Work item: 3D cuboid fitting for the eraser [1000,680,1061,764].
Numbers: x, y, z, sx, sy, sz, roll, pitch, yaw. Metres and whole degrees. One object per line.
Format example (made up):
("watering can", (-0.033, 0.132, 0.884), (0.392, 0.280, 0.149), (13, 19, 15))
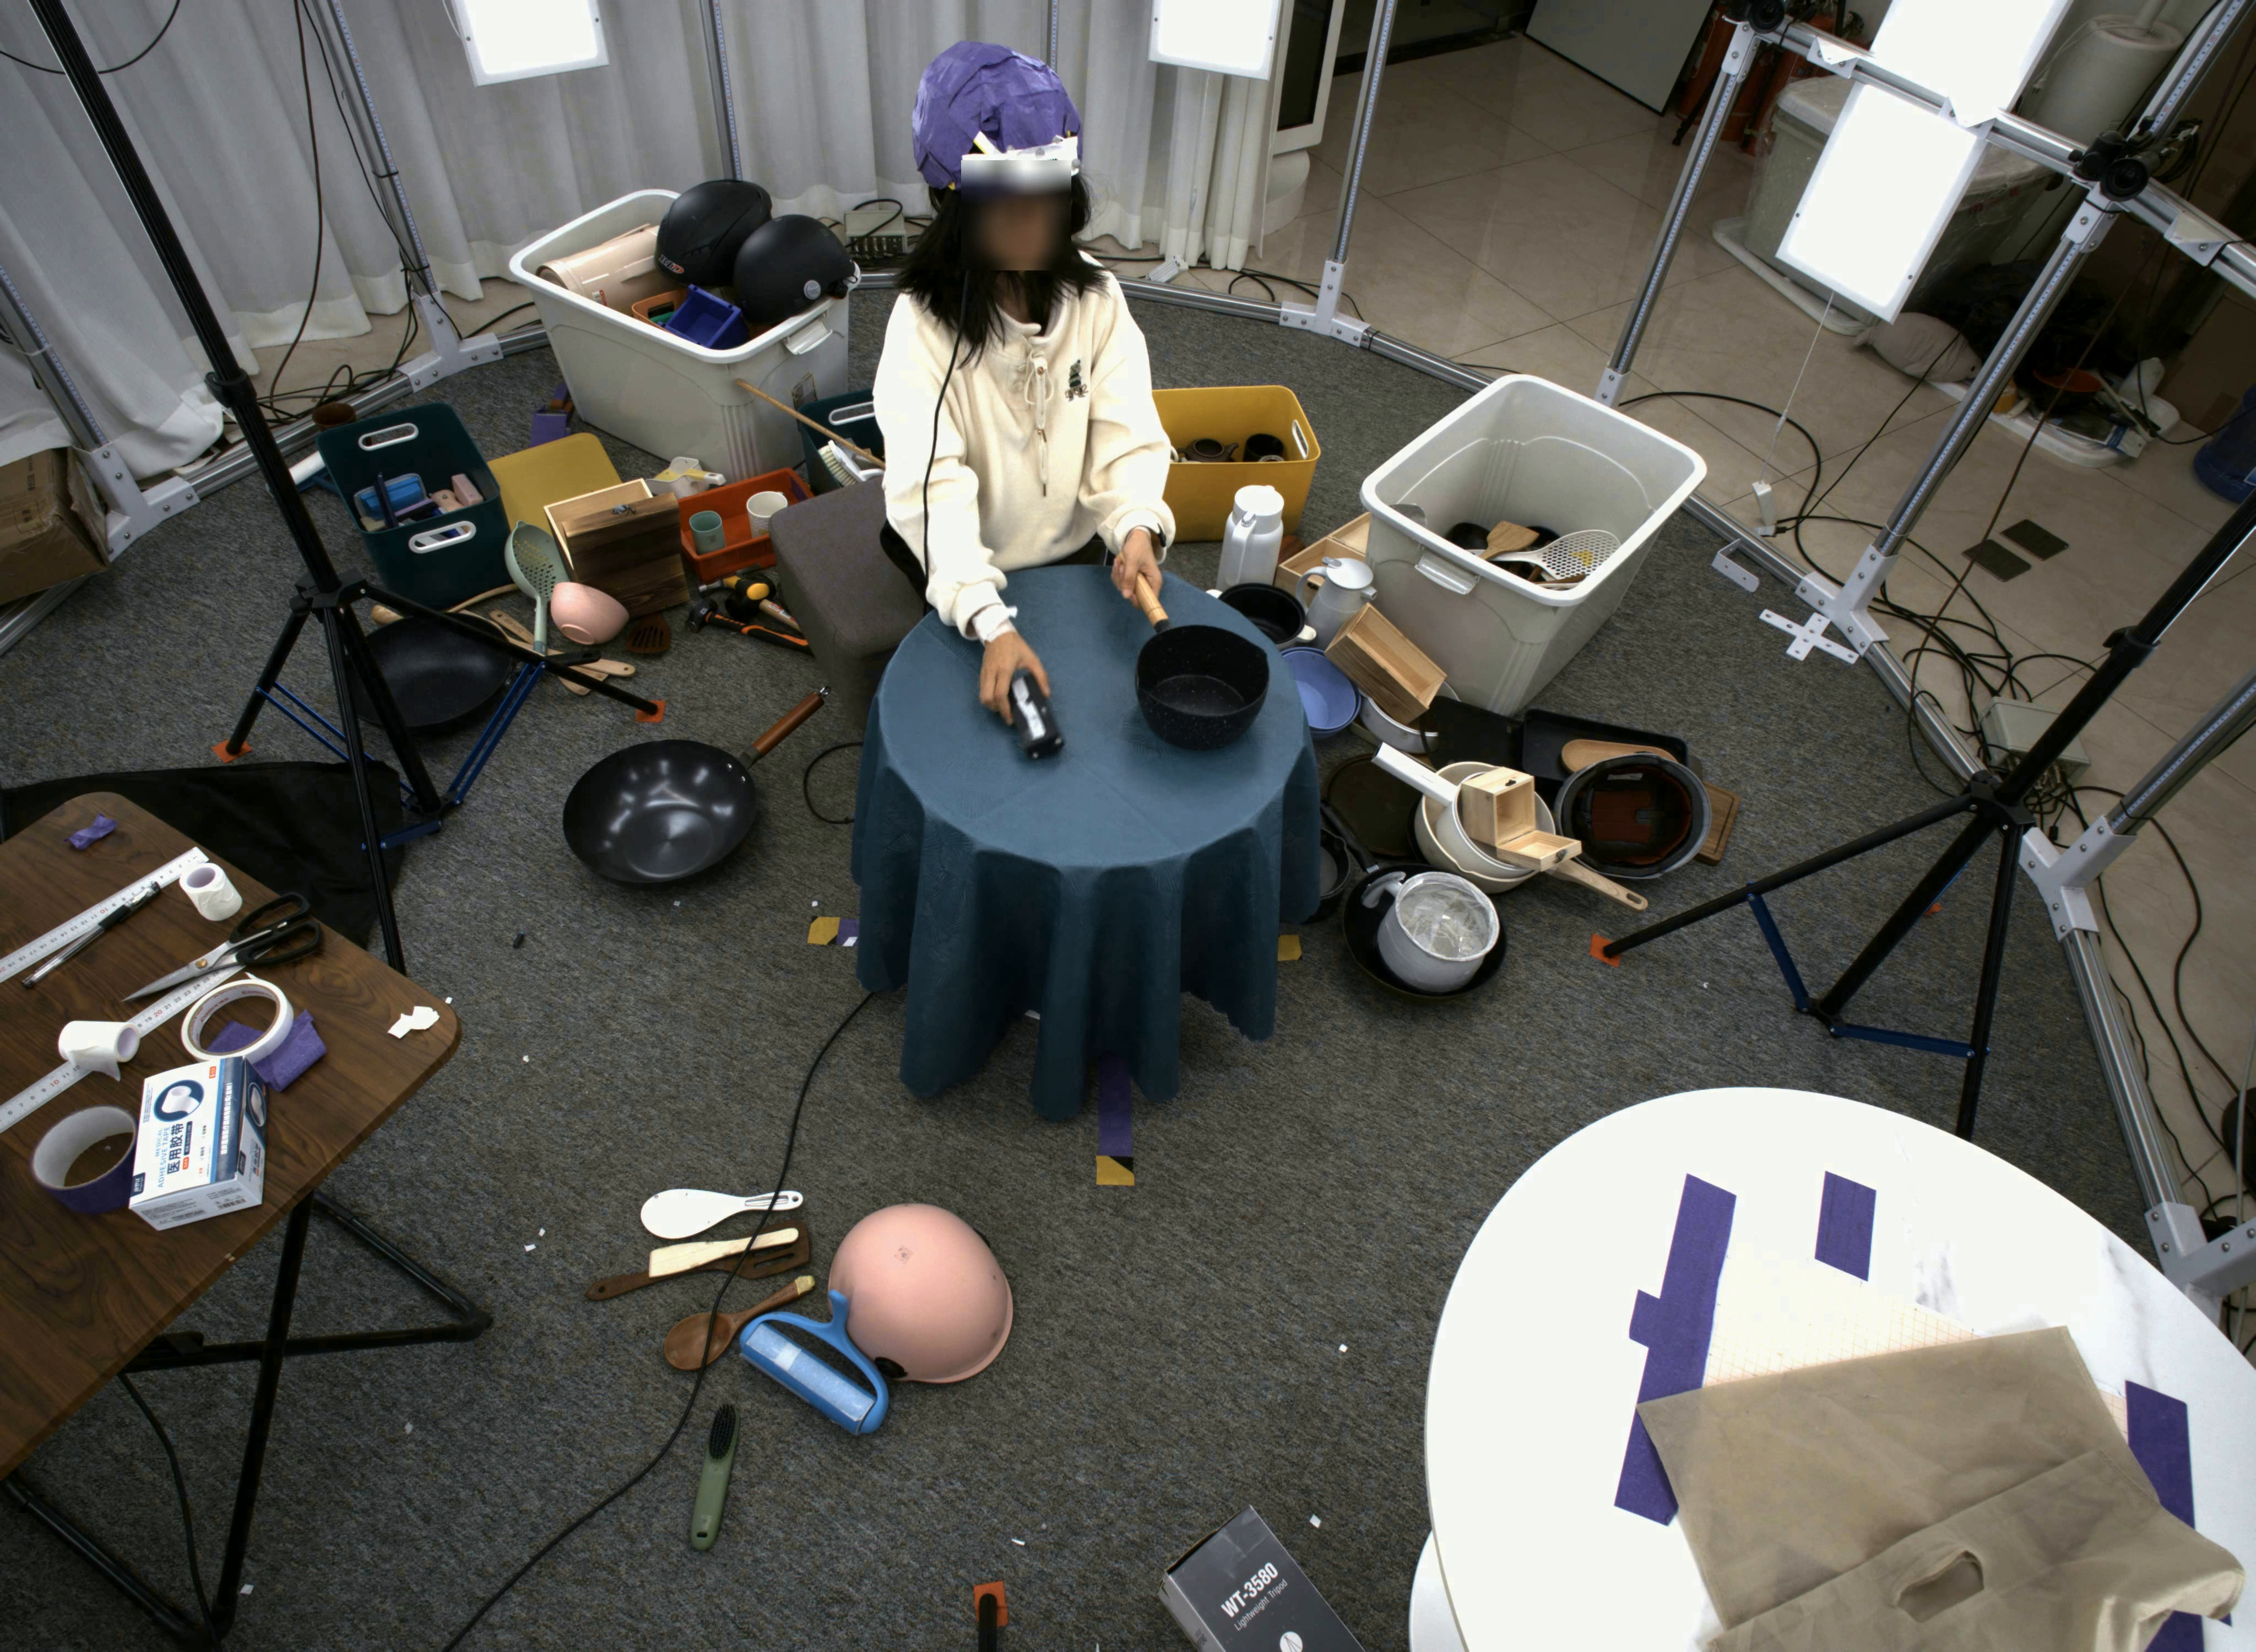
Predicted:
("eraser", (-0.133, -0.143, 1.759), (0.053, 0.030, 0.128), (-19, 53, -3))

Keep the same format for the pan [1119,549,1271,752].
("pan", (0.065, -0.249, 1.820), (0.208, 0.105, 0.350), (-20, 55, -19))
